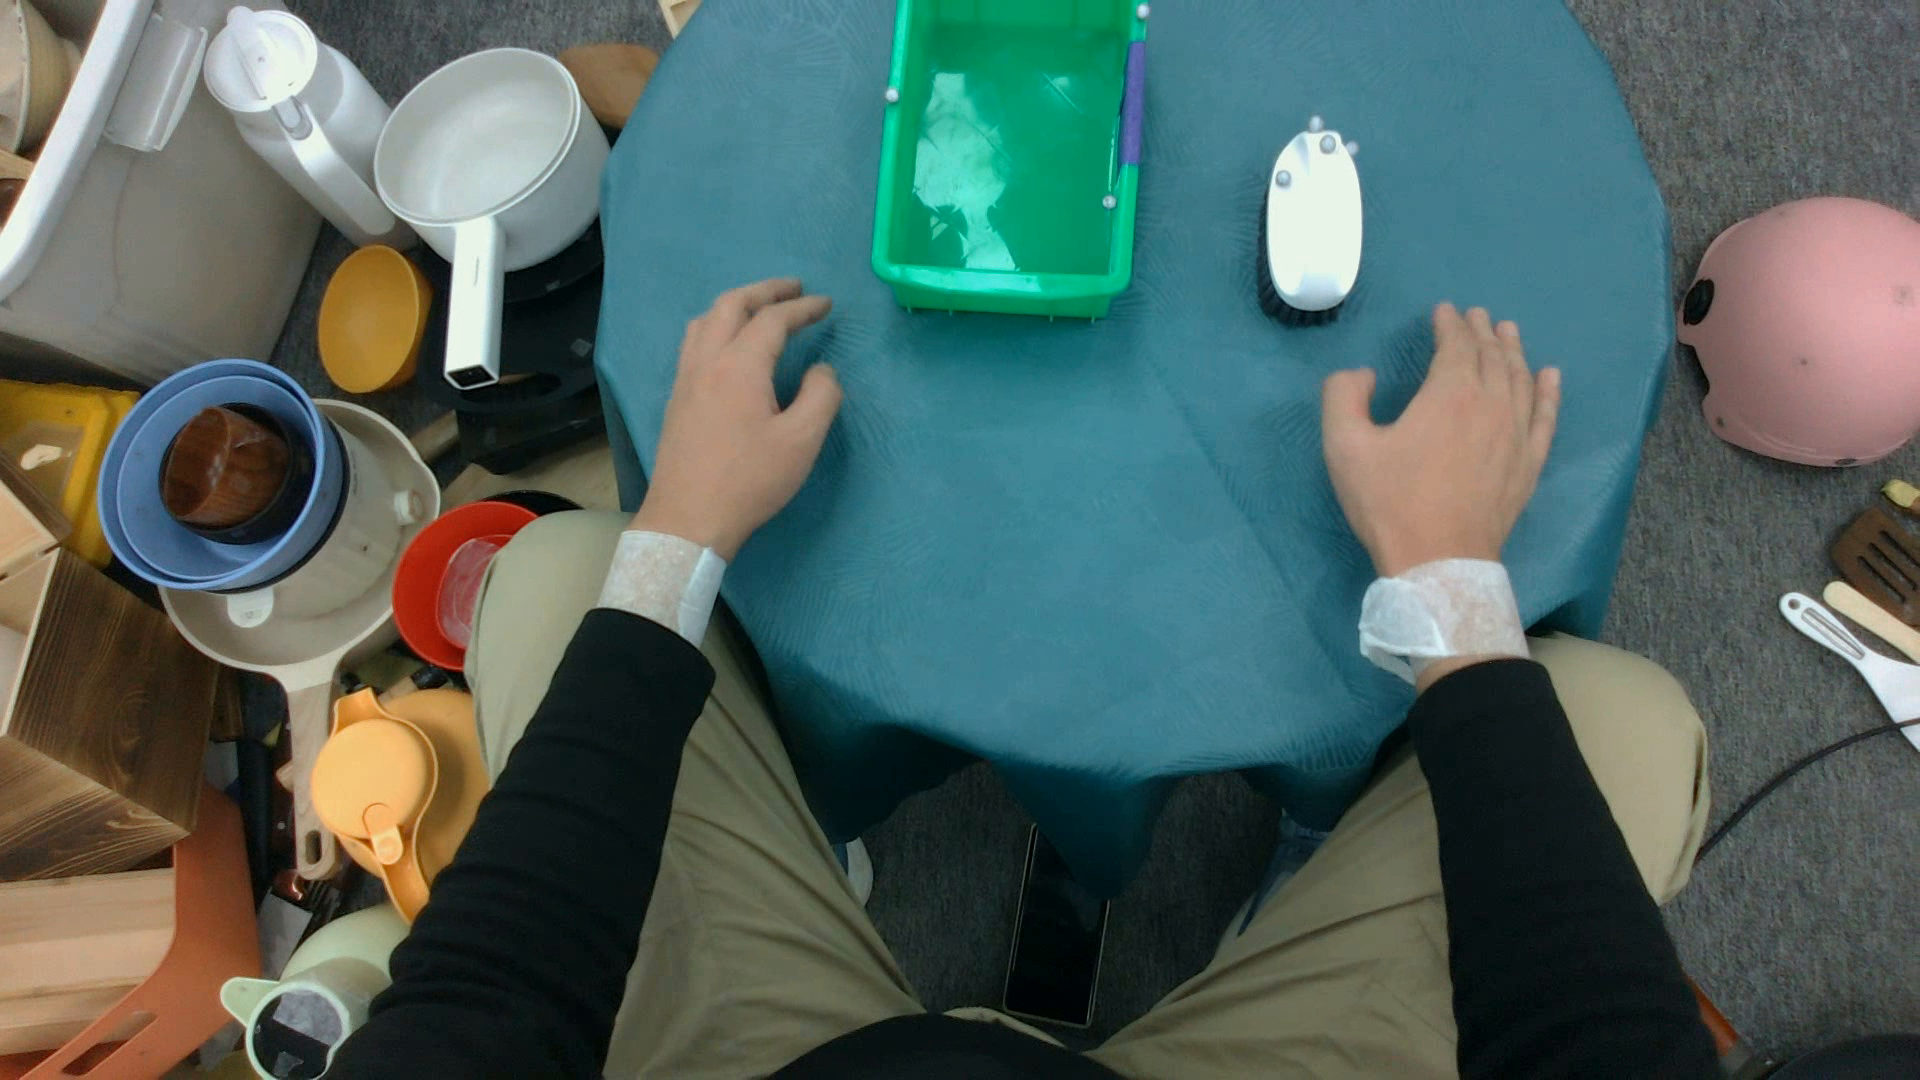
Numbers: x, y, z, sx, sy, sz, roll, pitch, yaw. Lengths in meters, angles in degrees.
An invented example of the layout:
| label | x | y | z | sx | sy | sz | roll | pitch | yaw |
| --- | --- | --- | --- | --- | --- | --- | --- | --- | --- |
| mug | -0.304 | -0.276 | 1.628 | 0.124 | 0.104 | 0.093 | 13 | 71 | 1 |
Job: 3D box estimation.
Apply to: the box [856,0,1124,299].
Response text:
| label | x | y | z | sx | sy | sz | roll | pitch | yaw |
| --- | --- | --- | --- | --- | --- | --- | --- | --- | --- |
| box | 0.019 | -0.233 | 0.769 | 0.138 | 0.065 | 0.211 | 3 | 76 | 0 |

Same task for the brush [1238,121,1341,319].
| label | x | y | z | sx | sy | sz | roll | pitch | yaw |
| --- | --- | --- | --- | --- | --- | --- | --- | --- | --- |
| brush | 0.182 | -0.179 | 0.744 | 0.050 | 0.072 | 0.099 | 5 | 77 | 2 |
